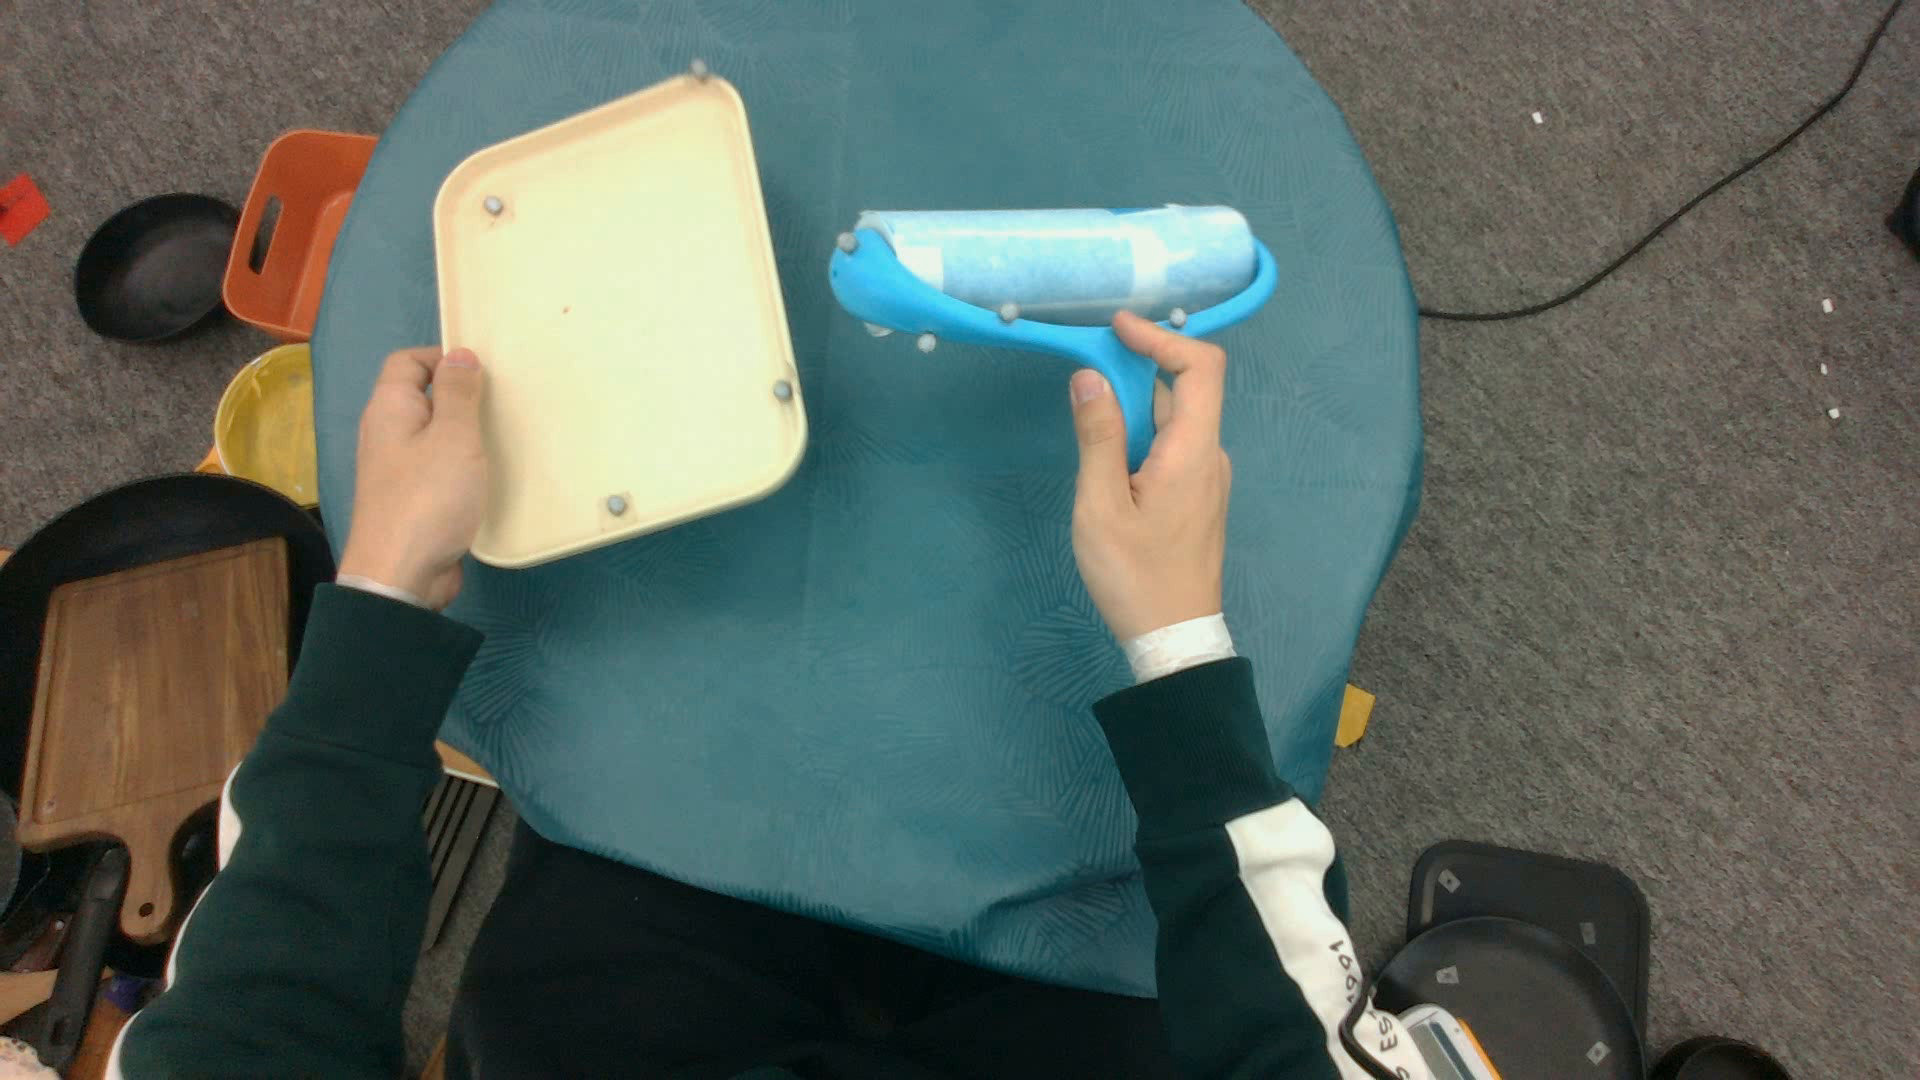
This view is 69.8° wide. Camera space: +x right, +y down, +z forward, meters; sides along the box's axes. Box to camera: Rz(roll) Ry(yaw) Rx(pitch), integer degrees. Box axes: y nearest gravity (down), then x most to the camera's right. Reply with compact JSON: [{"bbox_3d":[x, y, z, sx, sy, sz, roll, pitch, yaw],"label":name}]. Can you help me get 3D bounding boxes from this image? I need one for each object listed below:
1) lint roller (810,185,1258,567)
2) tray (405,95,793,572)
[{"bbox_3d":[0.057,-0.082,0.638,0.229,0.067,0.180,-12,75,-28],"label":"lint roller"},{"bbox_3d":[-0.180,-0.106,0.672,0.171,0.017,0.240,-17,66,2],"label":"tray"}]
